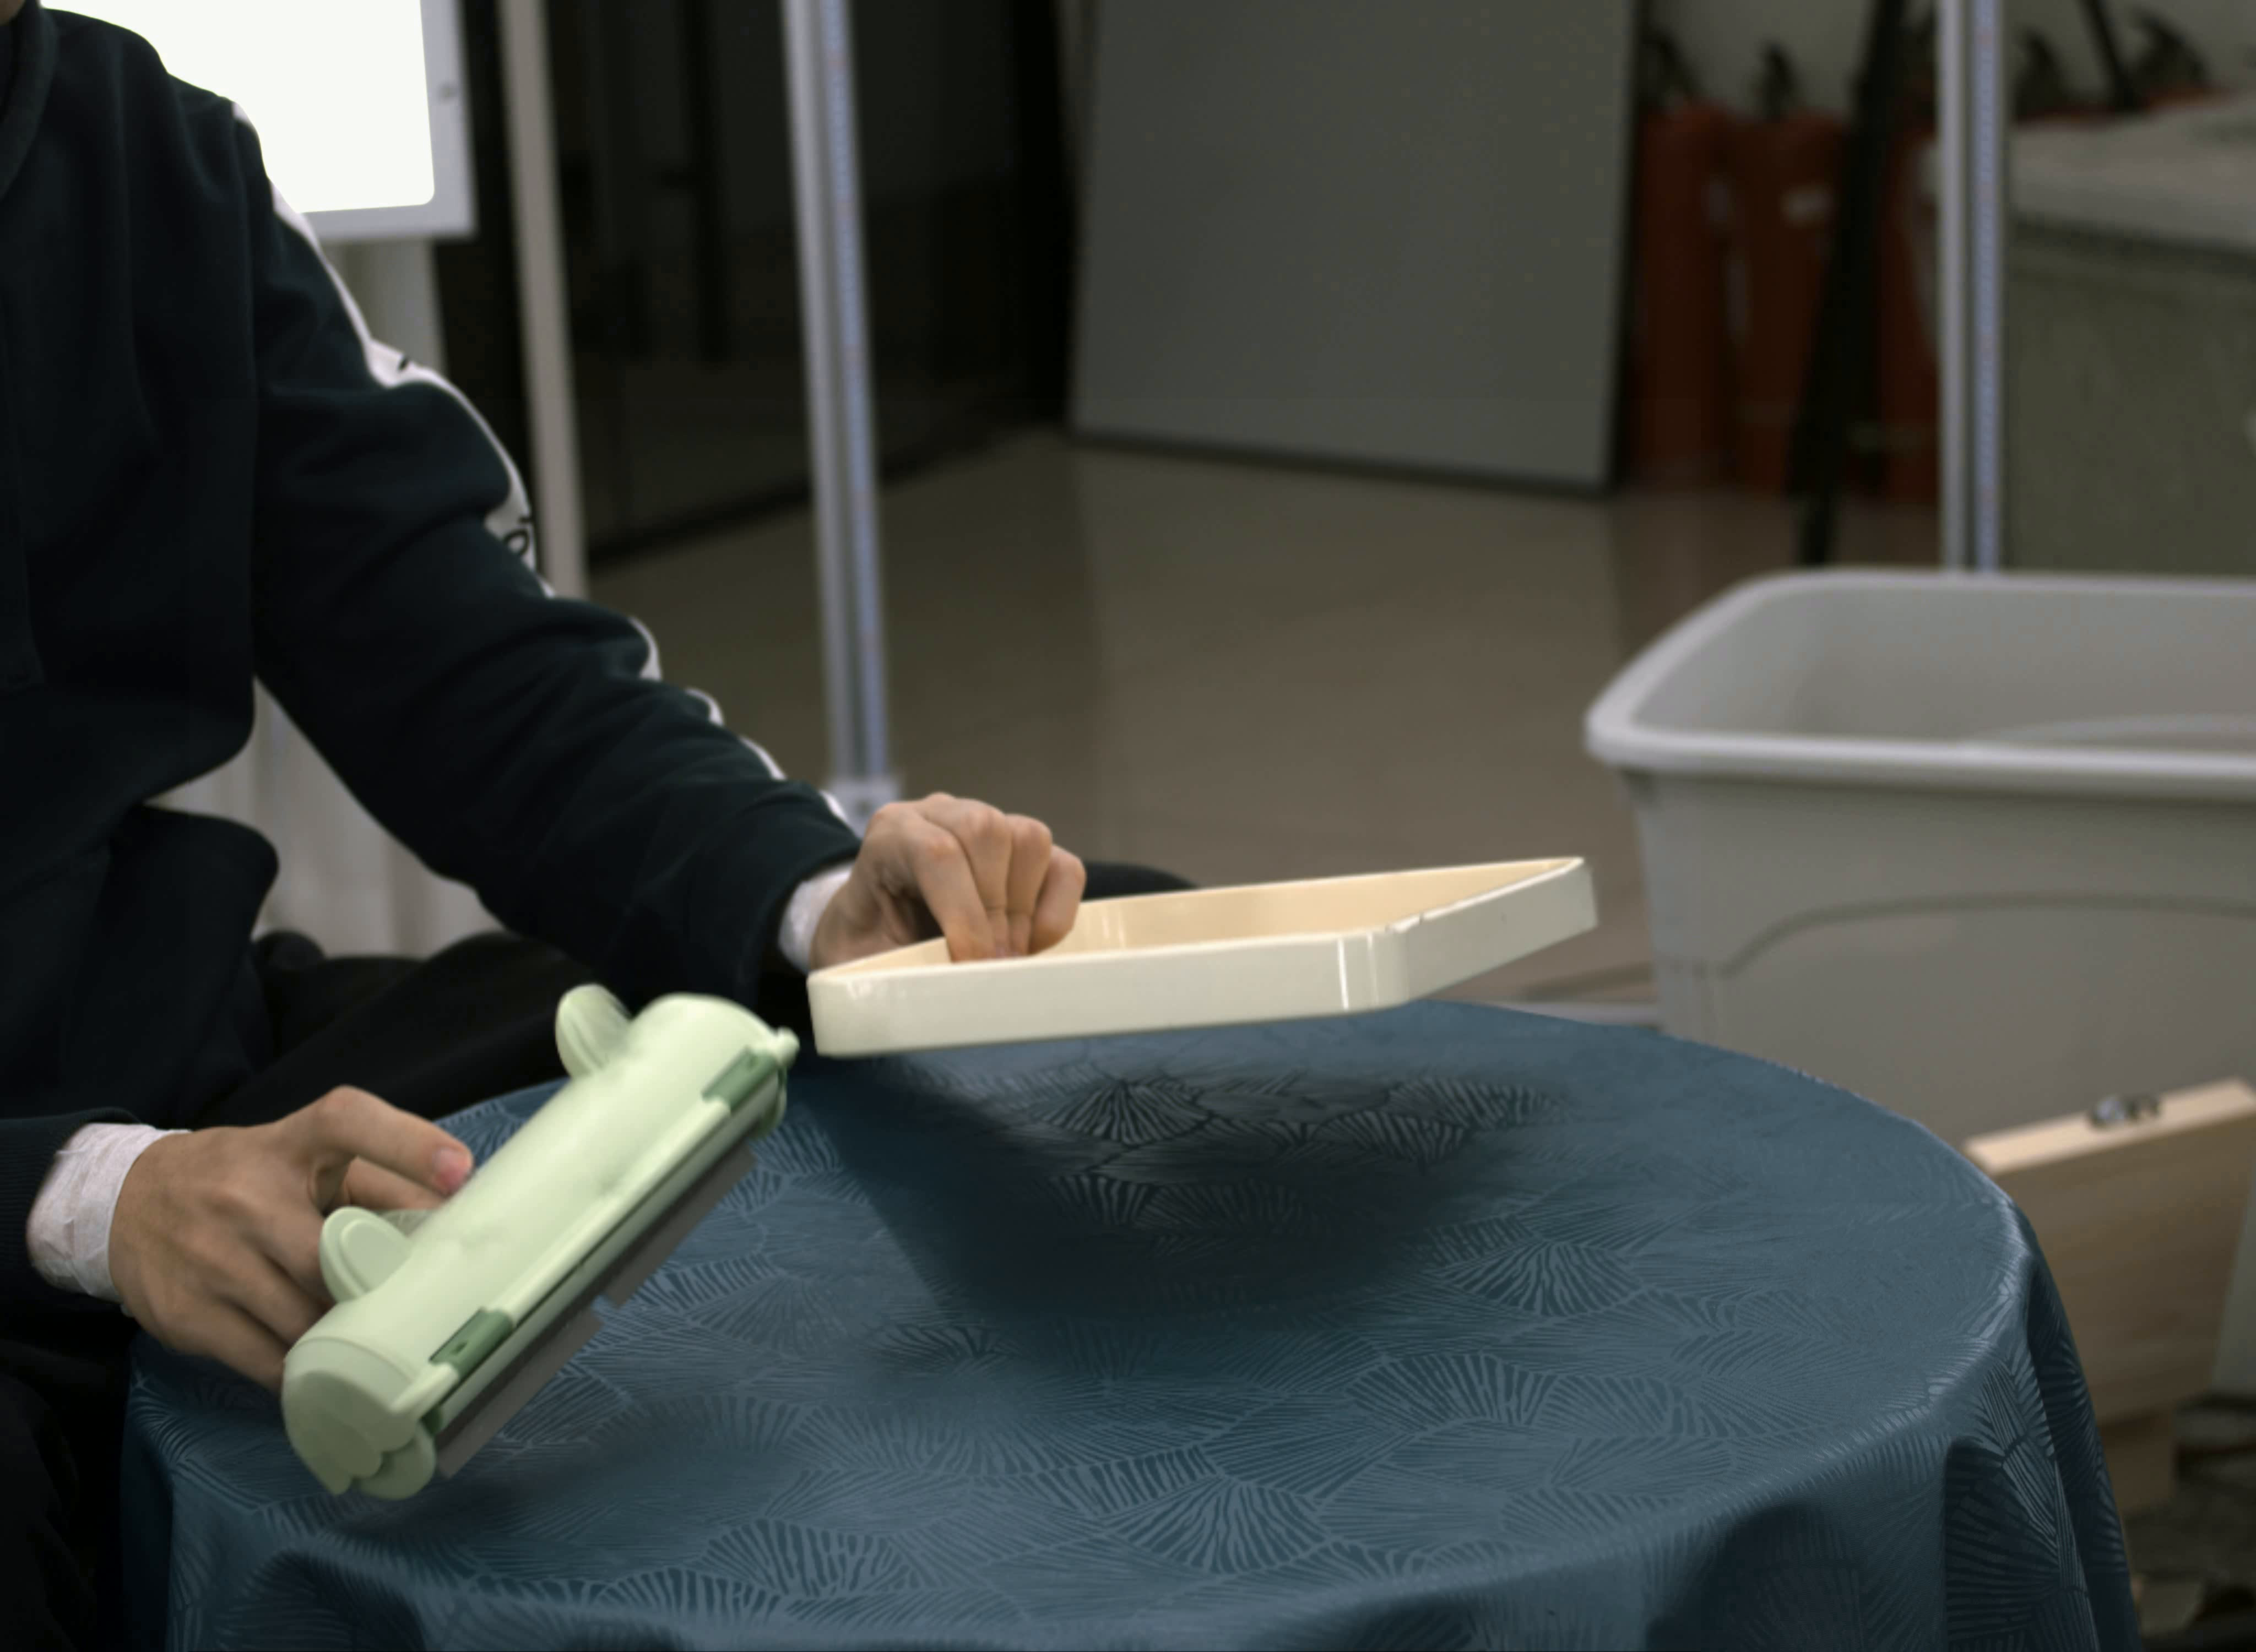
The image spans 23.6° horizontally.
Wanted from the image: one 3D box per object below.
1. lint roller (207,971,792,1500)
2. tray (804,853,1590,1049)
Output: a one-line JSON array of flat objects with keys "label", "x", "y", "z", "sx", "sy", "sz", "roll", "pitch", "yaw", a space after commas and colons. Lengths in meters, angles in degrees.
[{"label": "lint roller", "x": -0.215, "y": 0.112, "z": 1.586, "sx": 0.184, "sy": 0.082, "sz": 0.197, "roll": -3, "pitch": 30, "yaw": 37}, {"label": "tray", "x": 0.030, "y": 0.039, "z": 1.740, "sx": 0.191, "sy": 0.028, "sz": 0.297, "roll": -7, "pitch": 0, "yaw": 18}]
